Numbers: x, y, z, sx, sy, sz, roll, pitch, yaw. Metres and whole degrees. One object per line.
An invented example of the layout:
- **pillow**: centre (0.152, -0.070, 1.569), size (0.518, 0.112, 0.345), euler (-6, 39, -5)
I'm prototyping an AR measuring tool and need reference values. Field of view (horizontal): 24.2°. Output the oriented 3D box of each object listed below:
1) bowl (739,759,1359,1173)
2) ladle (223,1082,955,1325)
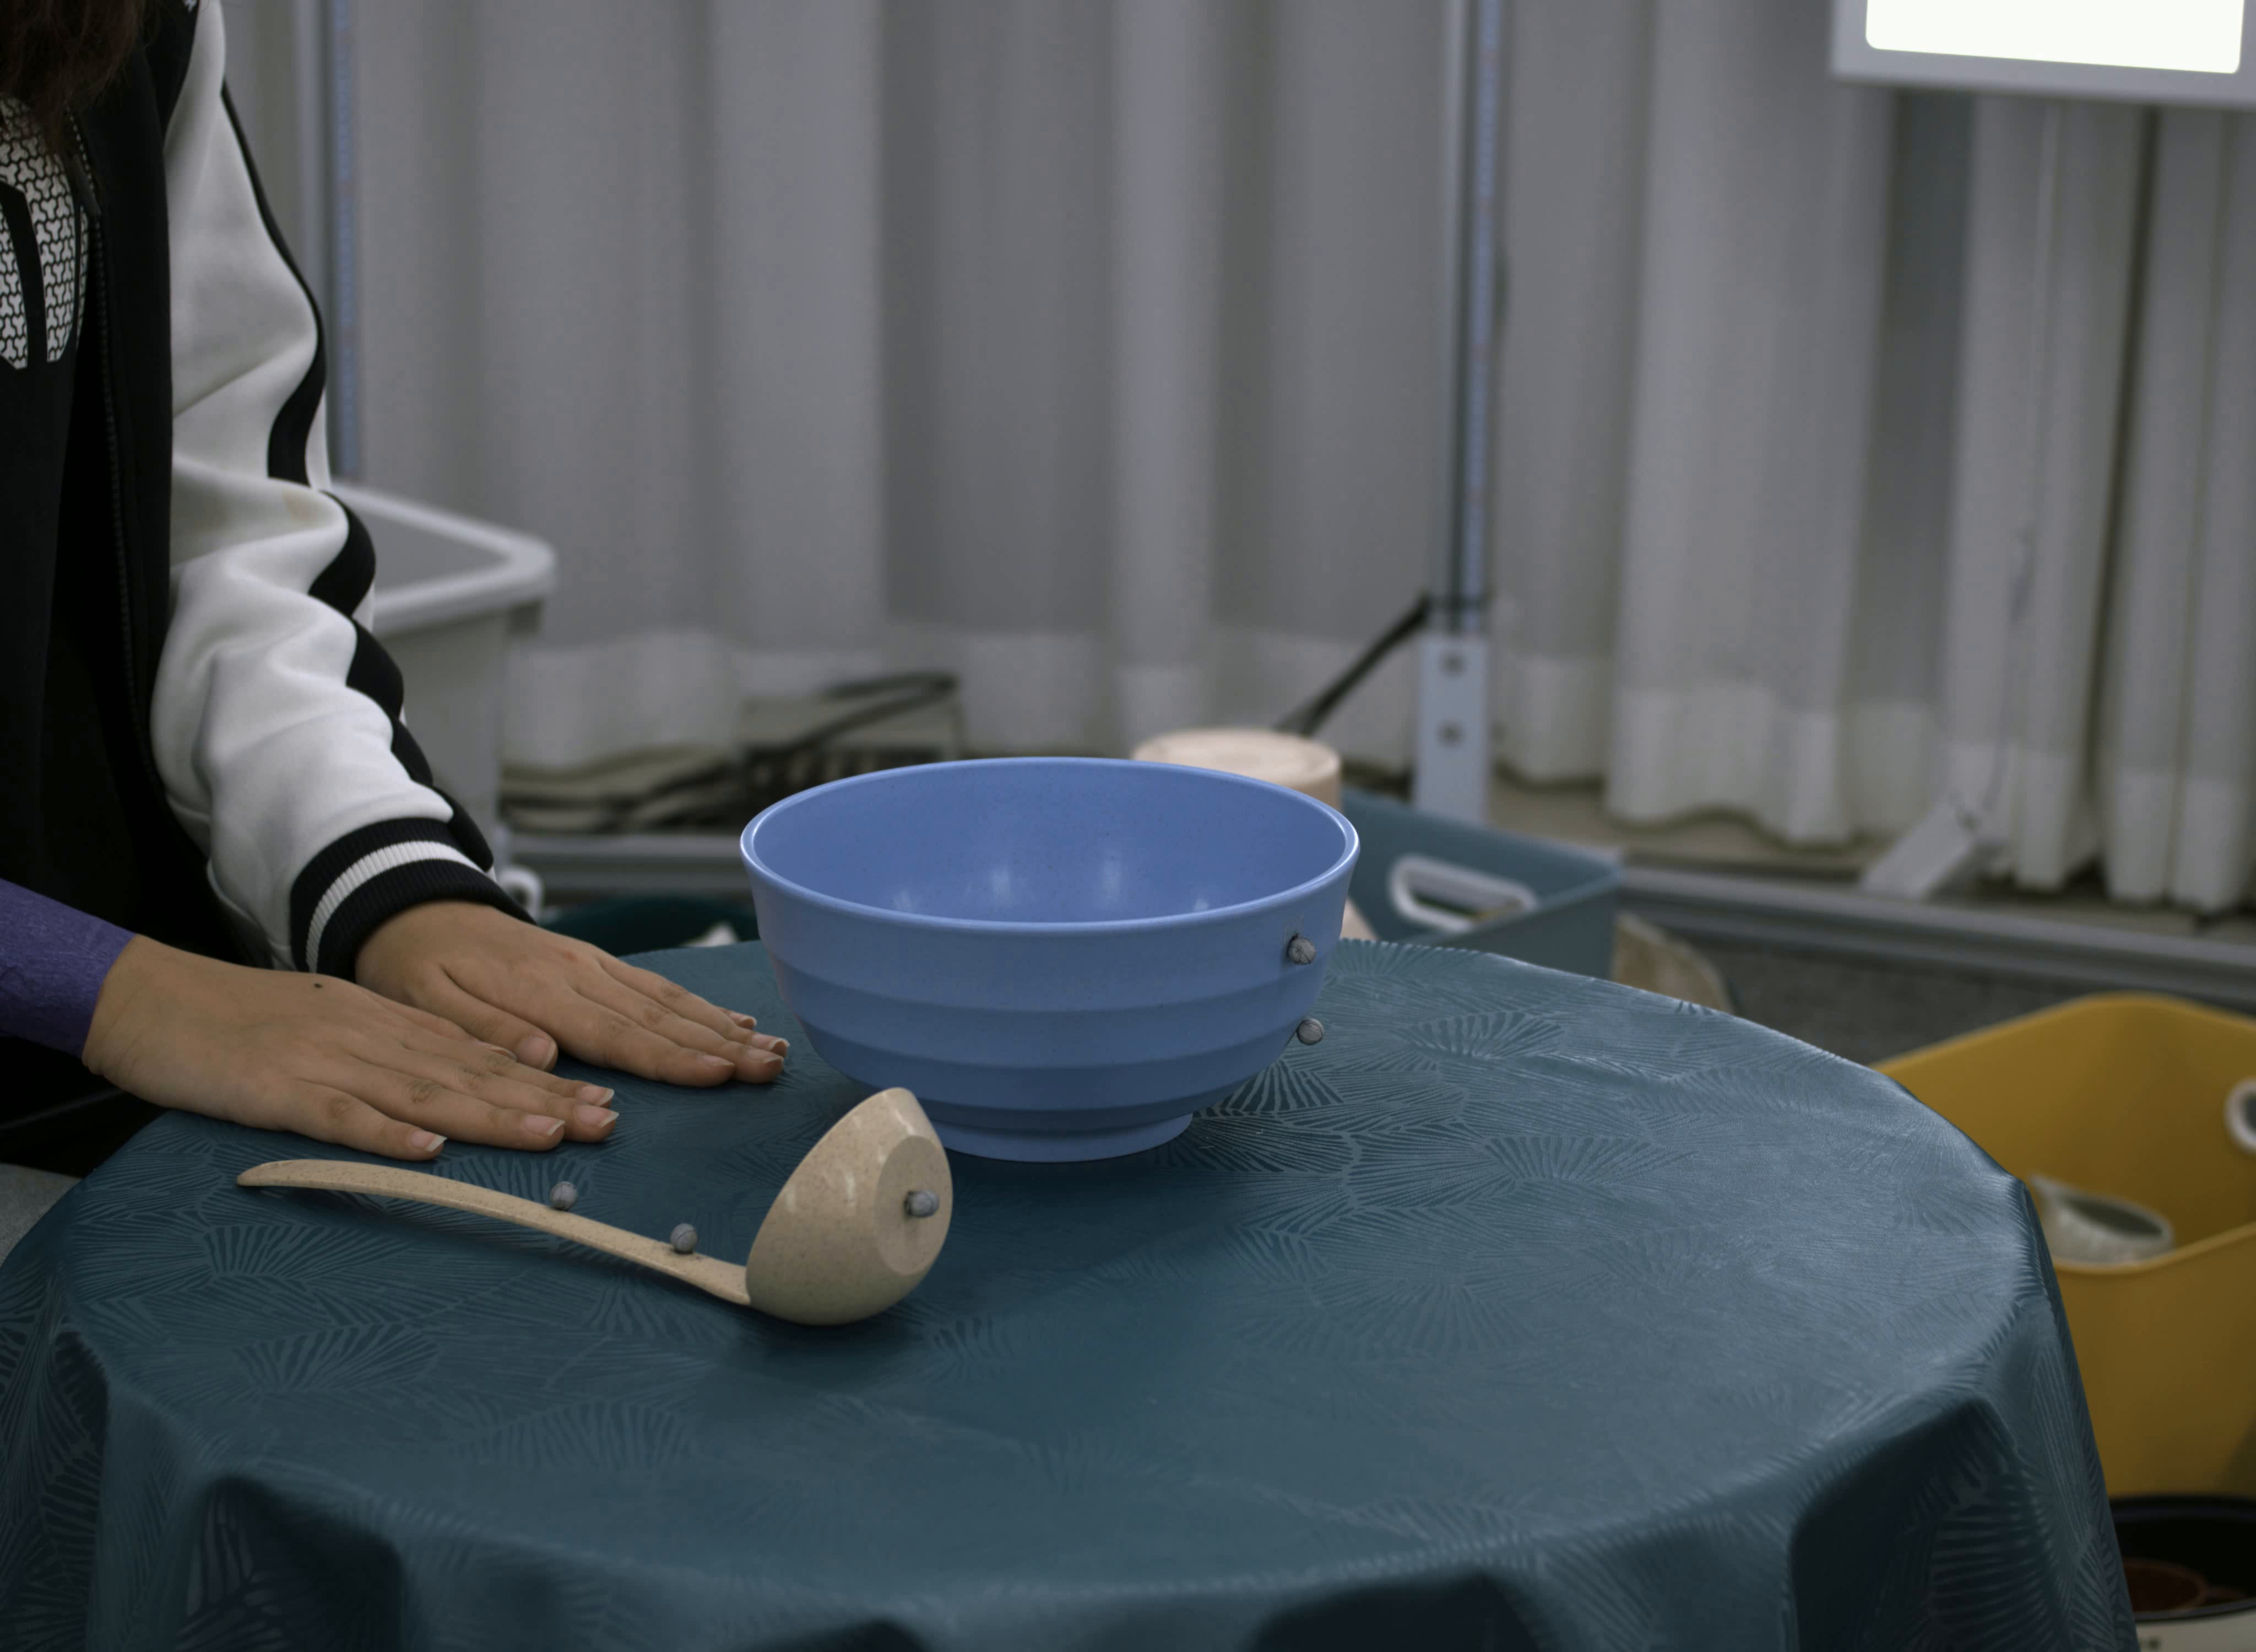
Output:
- **bowl**: centre (-0.024, 0.051, 1.676), size (0.196, 0.096, 0.195), euler (-1, 17, 1)
- **ladle**: centre (-0.167, 0.093, 1.548), size (0.251, 0.073, 0.072), euler (9, 17, 29)
